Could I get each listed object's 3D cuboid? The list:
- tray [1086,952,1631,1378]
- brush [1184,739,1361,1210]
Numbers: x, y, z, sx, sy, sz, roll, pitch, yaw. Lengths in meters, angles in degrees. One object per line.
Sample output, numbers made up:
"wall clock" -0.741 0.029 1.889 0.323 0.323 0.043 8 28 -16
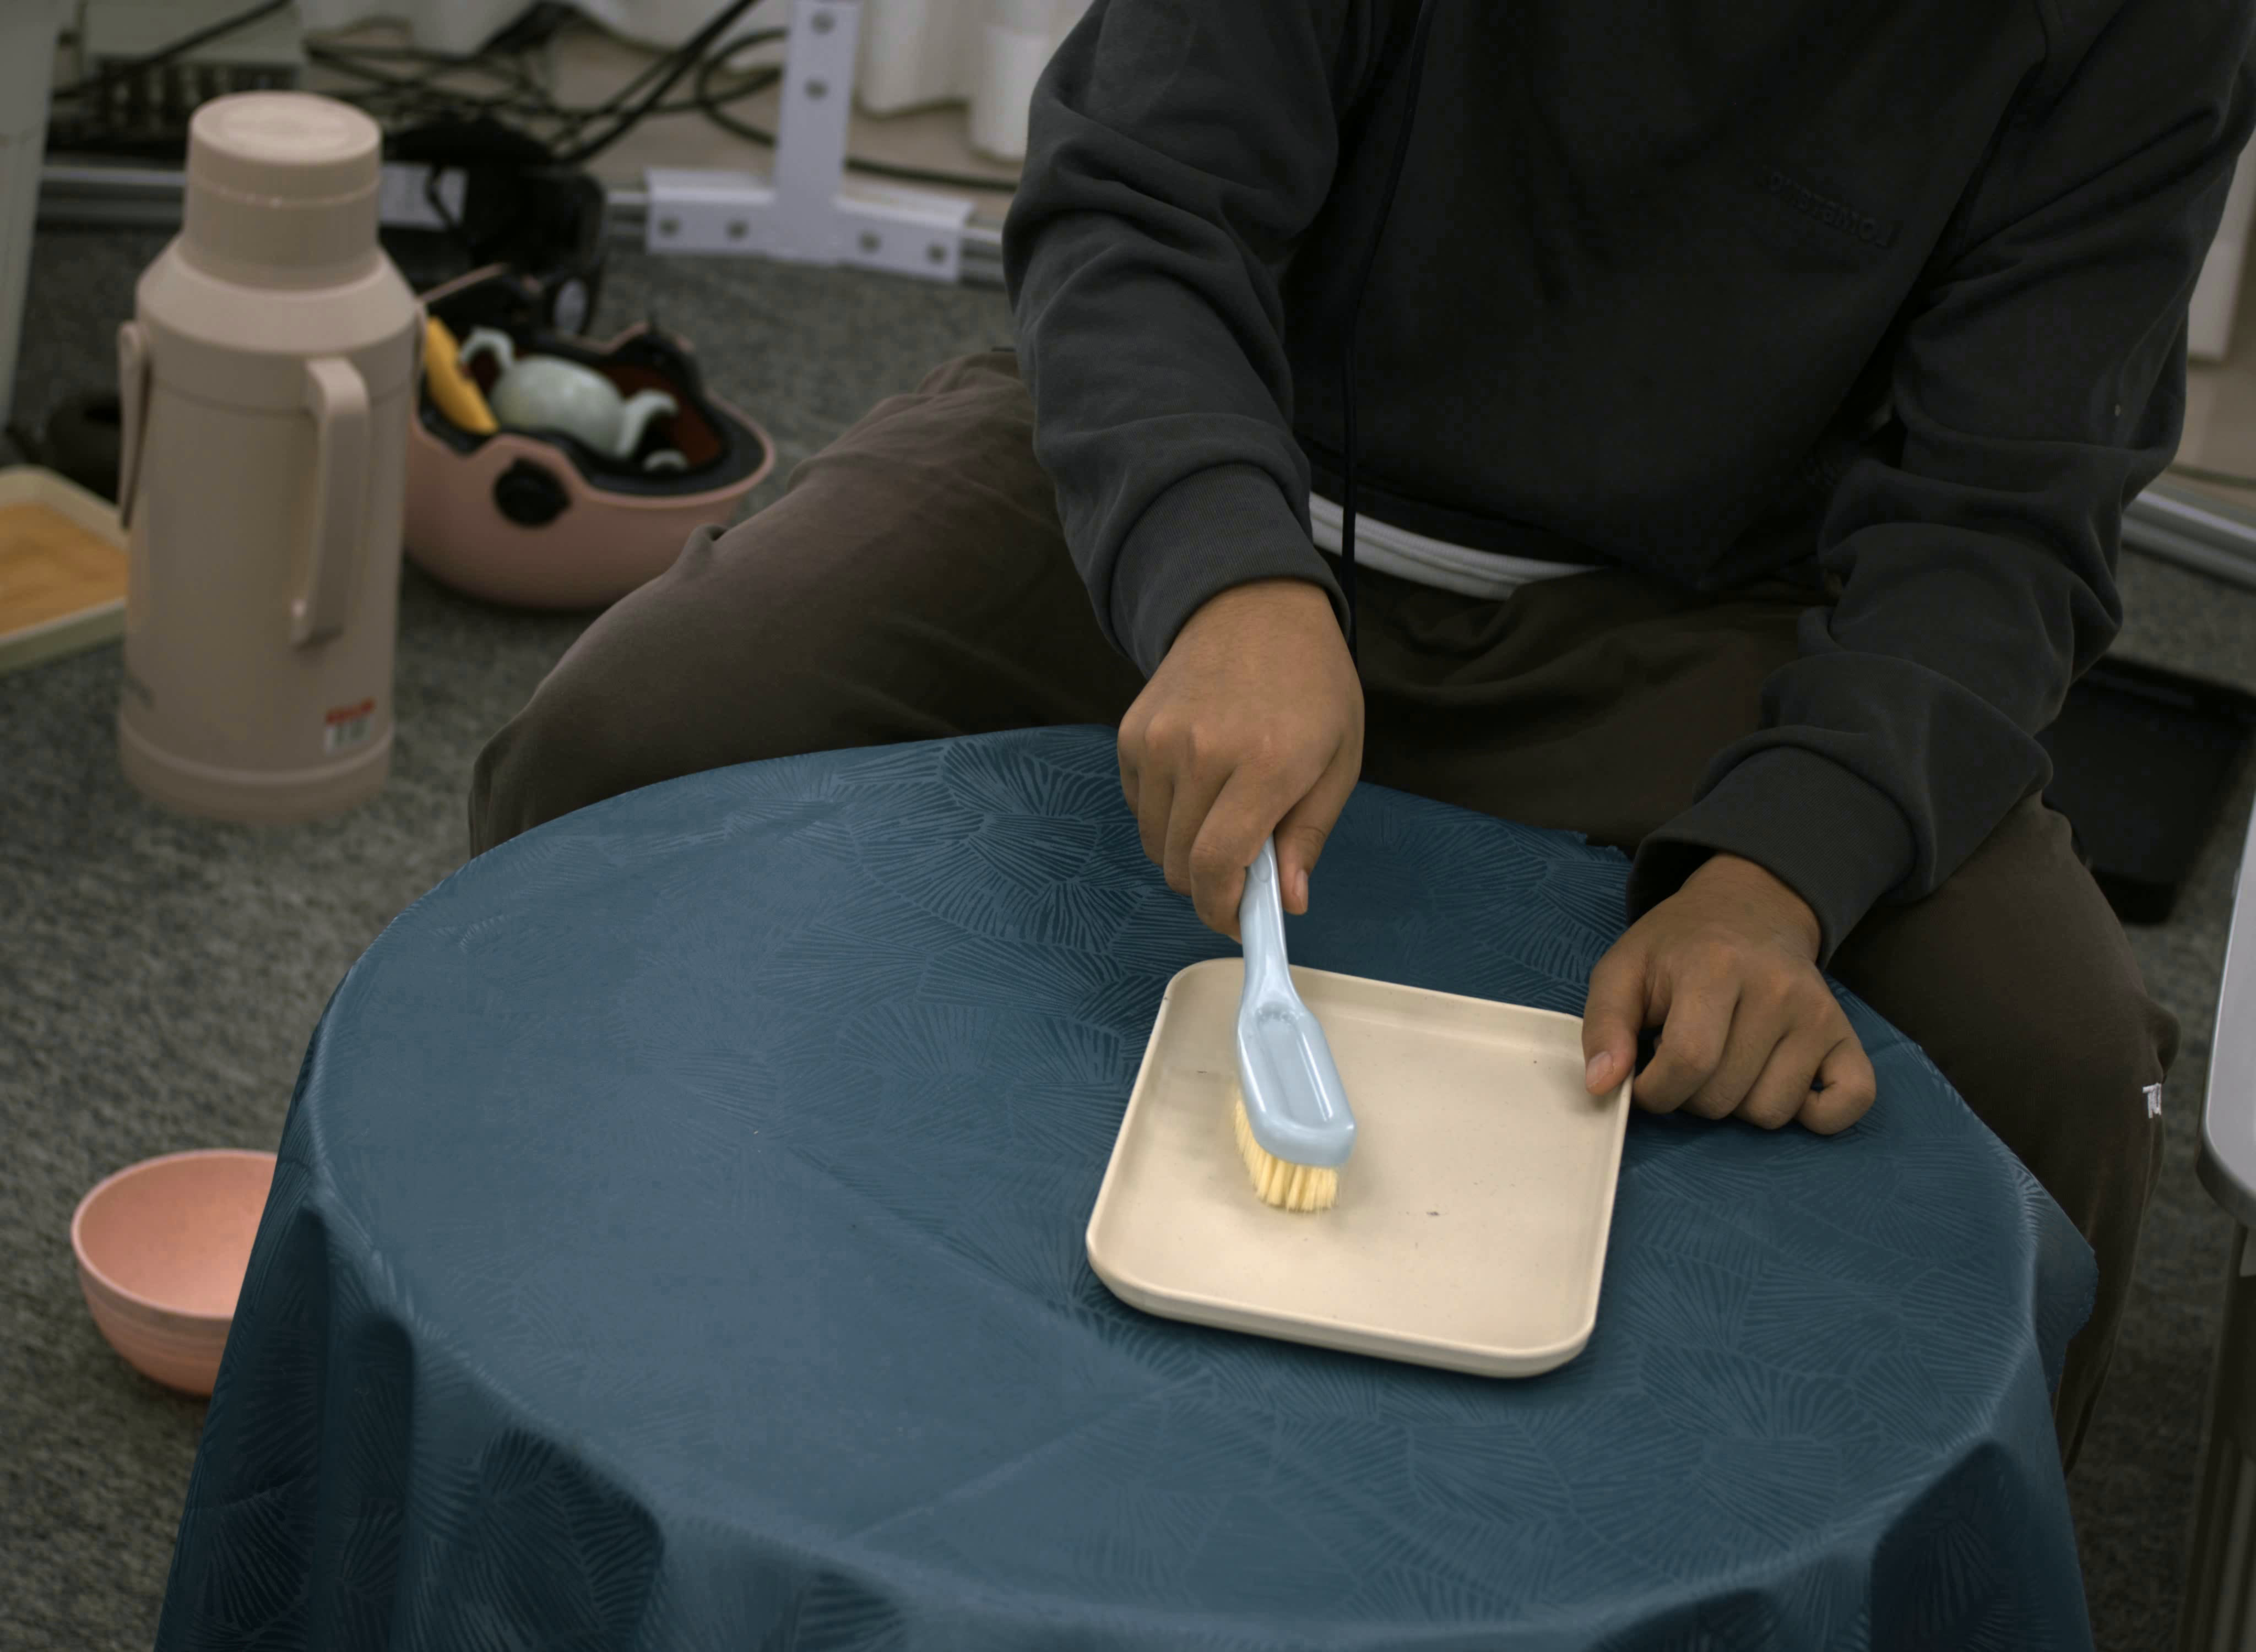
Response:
"tray" 0.082 0.115 1.823 0.171 0.017 0.240 11 27 5
"brush" 0.044 0.048 1.876 0.037 0.049 0.231 2 42 -14
